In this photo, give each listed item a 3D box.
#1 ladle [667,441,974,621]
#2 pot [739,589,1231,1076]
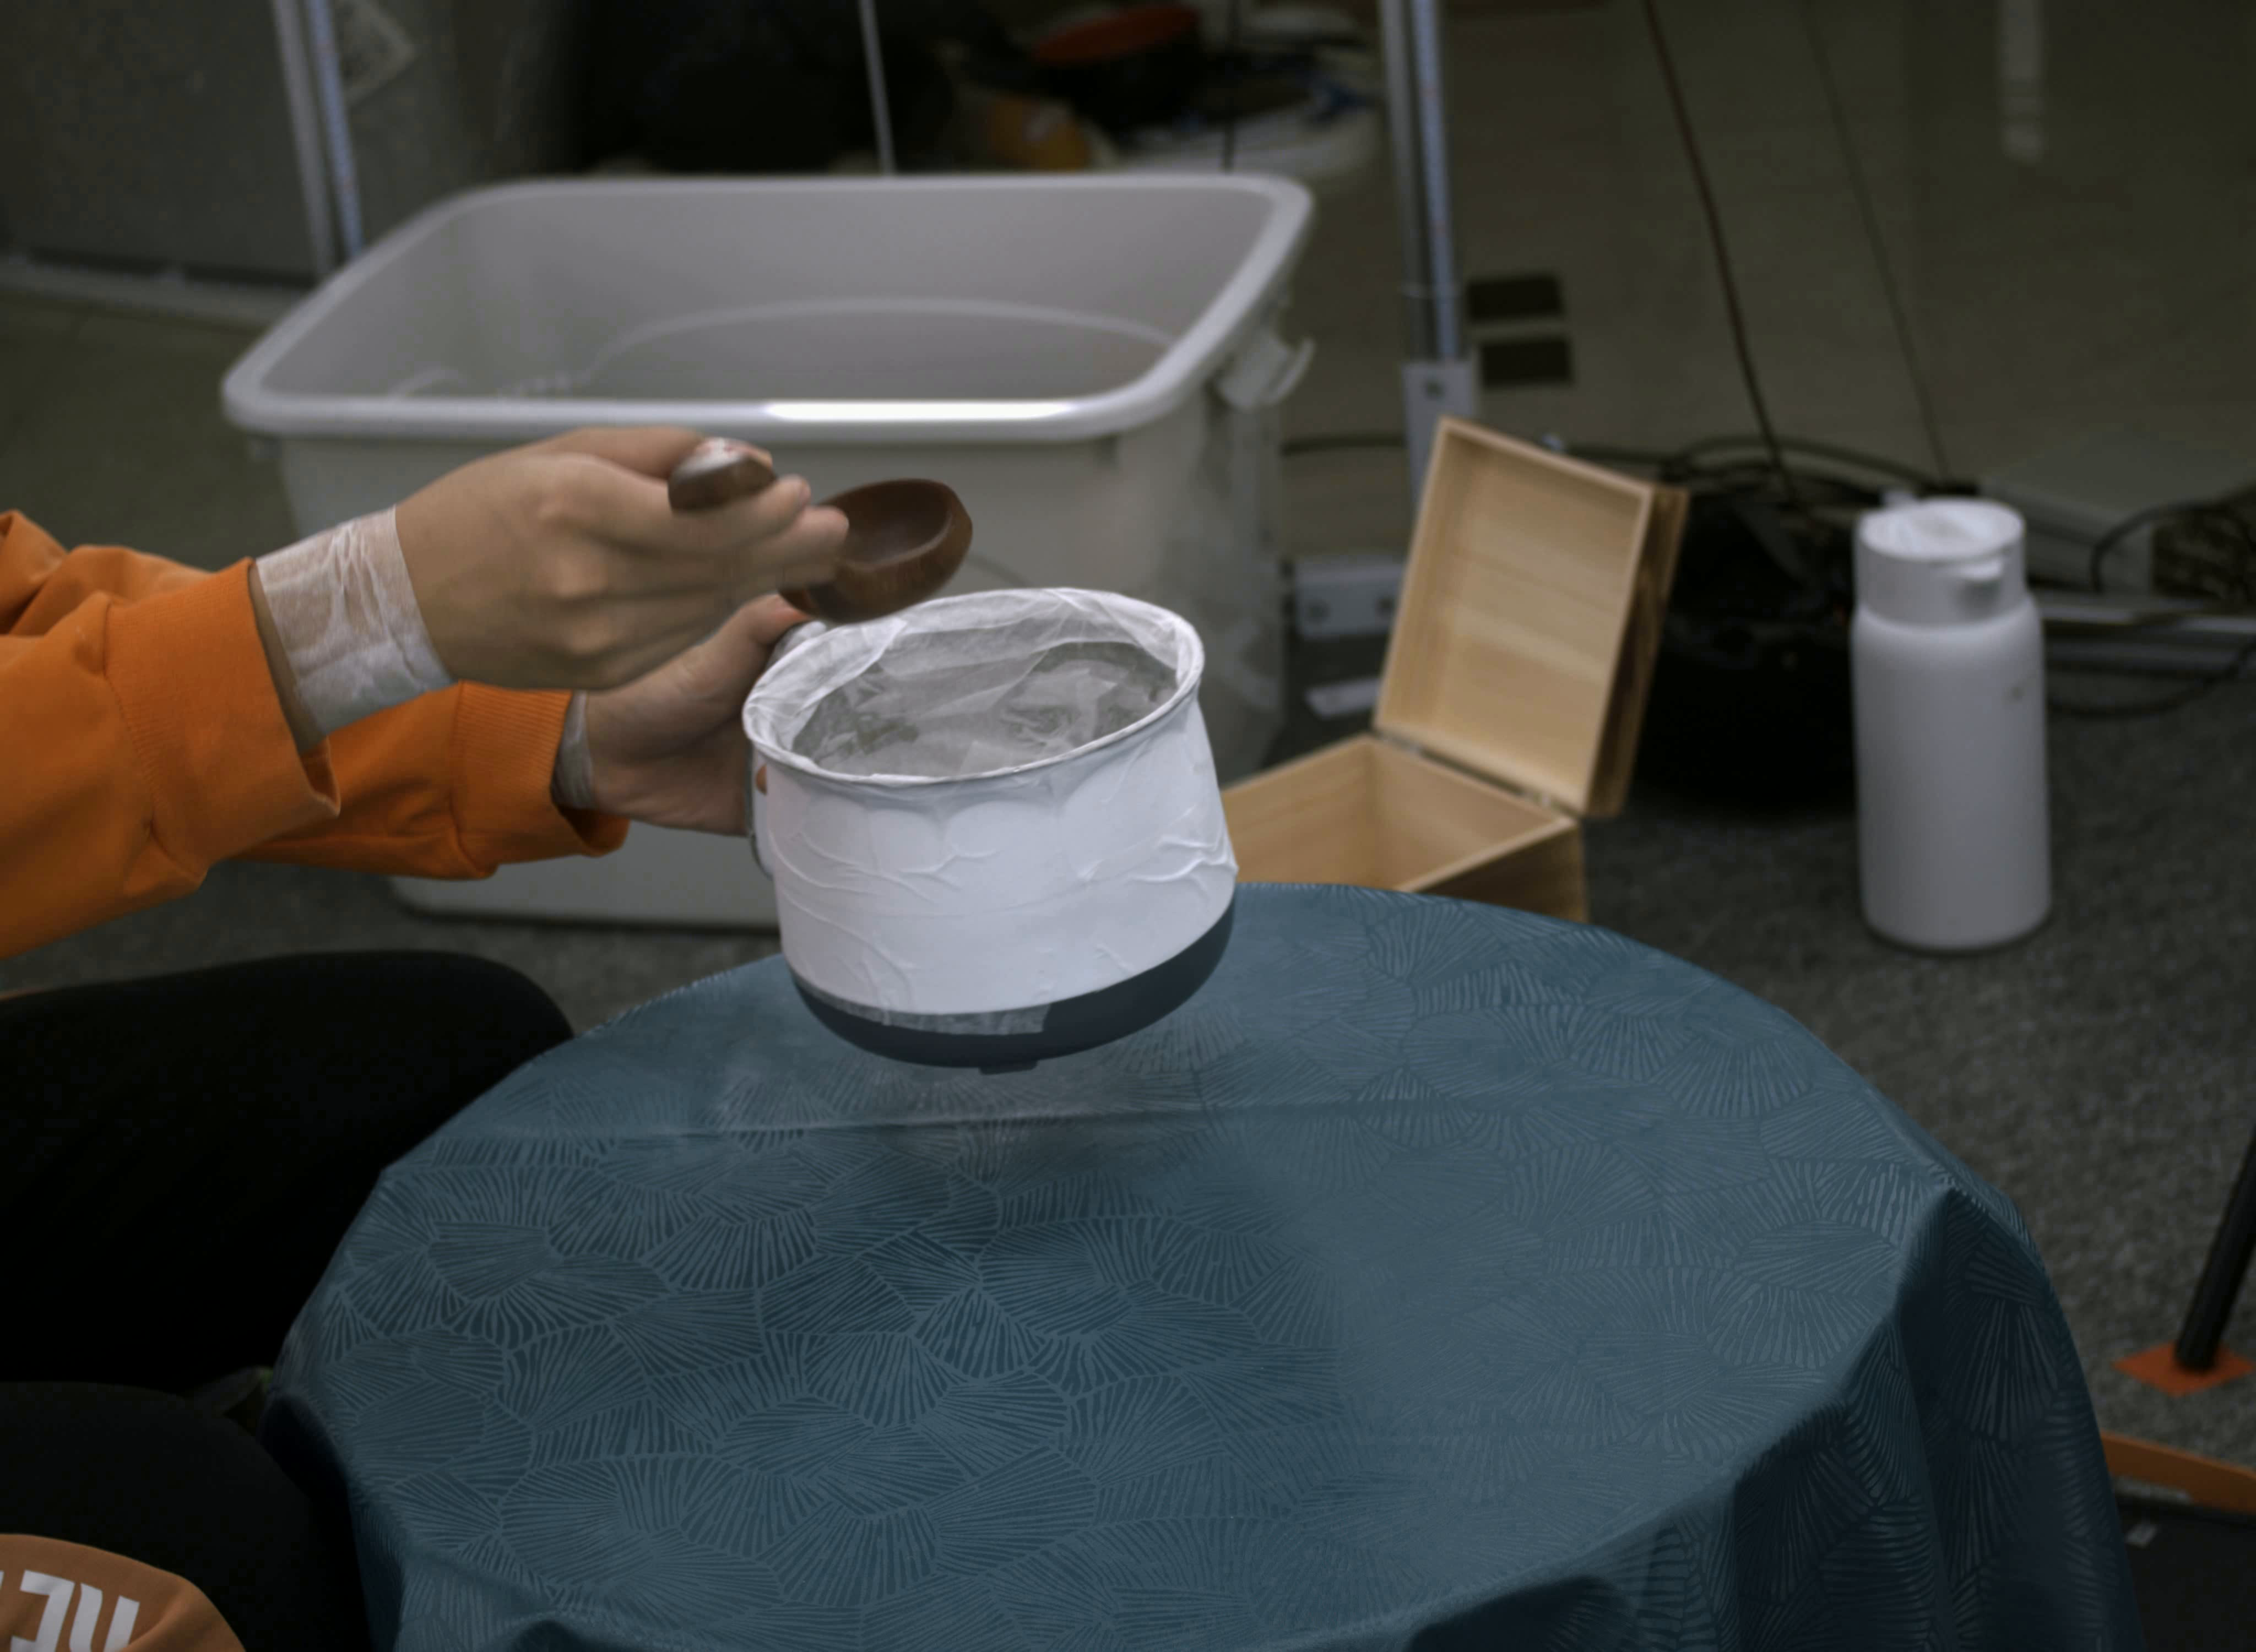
[{"bbox_3d":[-0.113,-0.115,1.904,0.076,0.065,0.261,-17,-12,10],"label":"ladle"},{"bbox_3d":[-0.071,-0.003,2.184,0.177,0.139,0.232,-28,32,-36],"label":"pot"}]
